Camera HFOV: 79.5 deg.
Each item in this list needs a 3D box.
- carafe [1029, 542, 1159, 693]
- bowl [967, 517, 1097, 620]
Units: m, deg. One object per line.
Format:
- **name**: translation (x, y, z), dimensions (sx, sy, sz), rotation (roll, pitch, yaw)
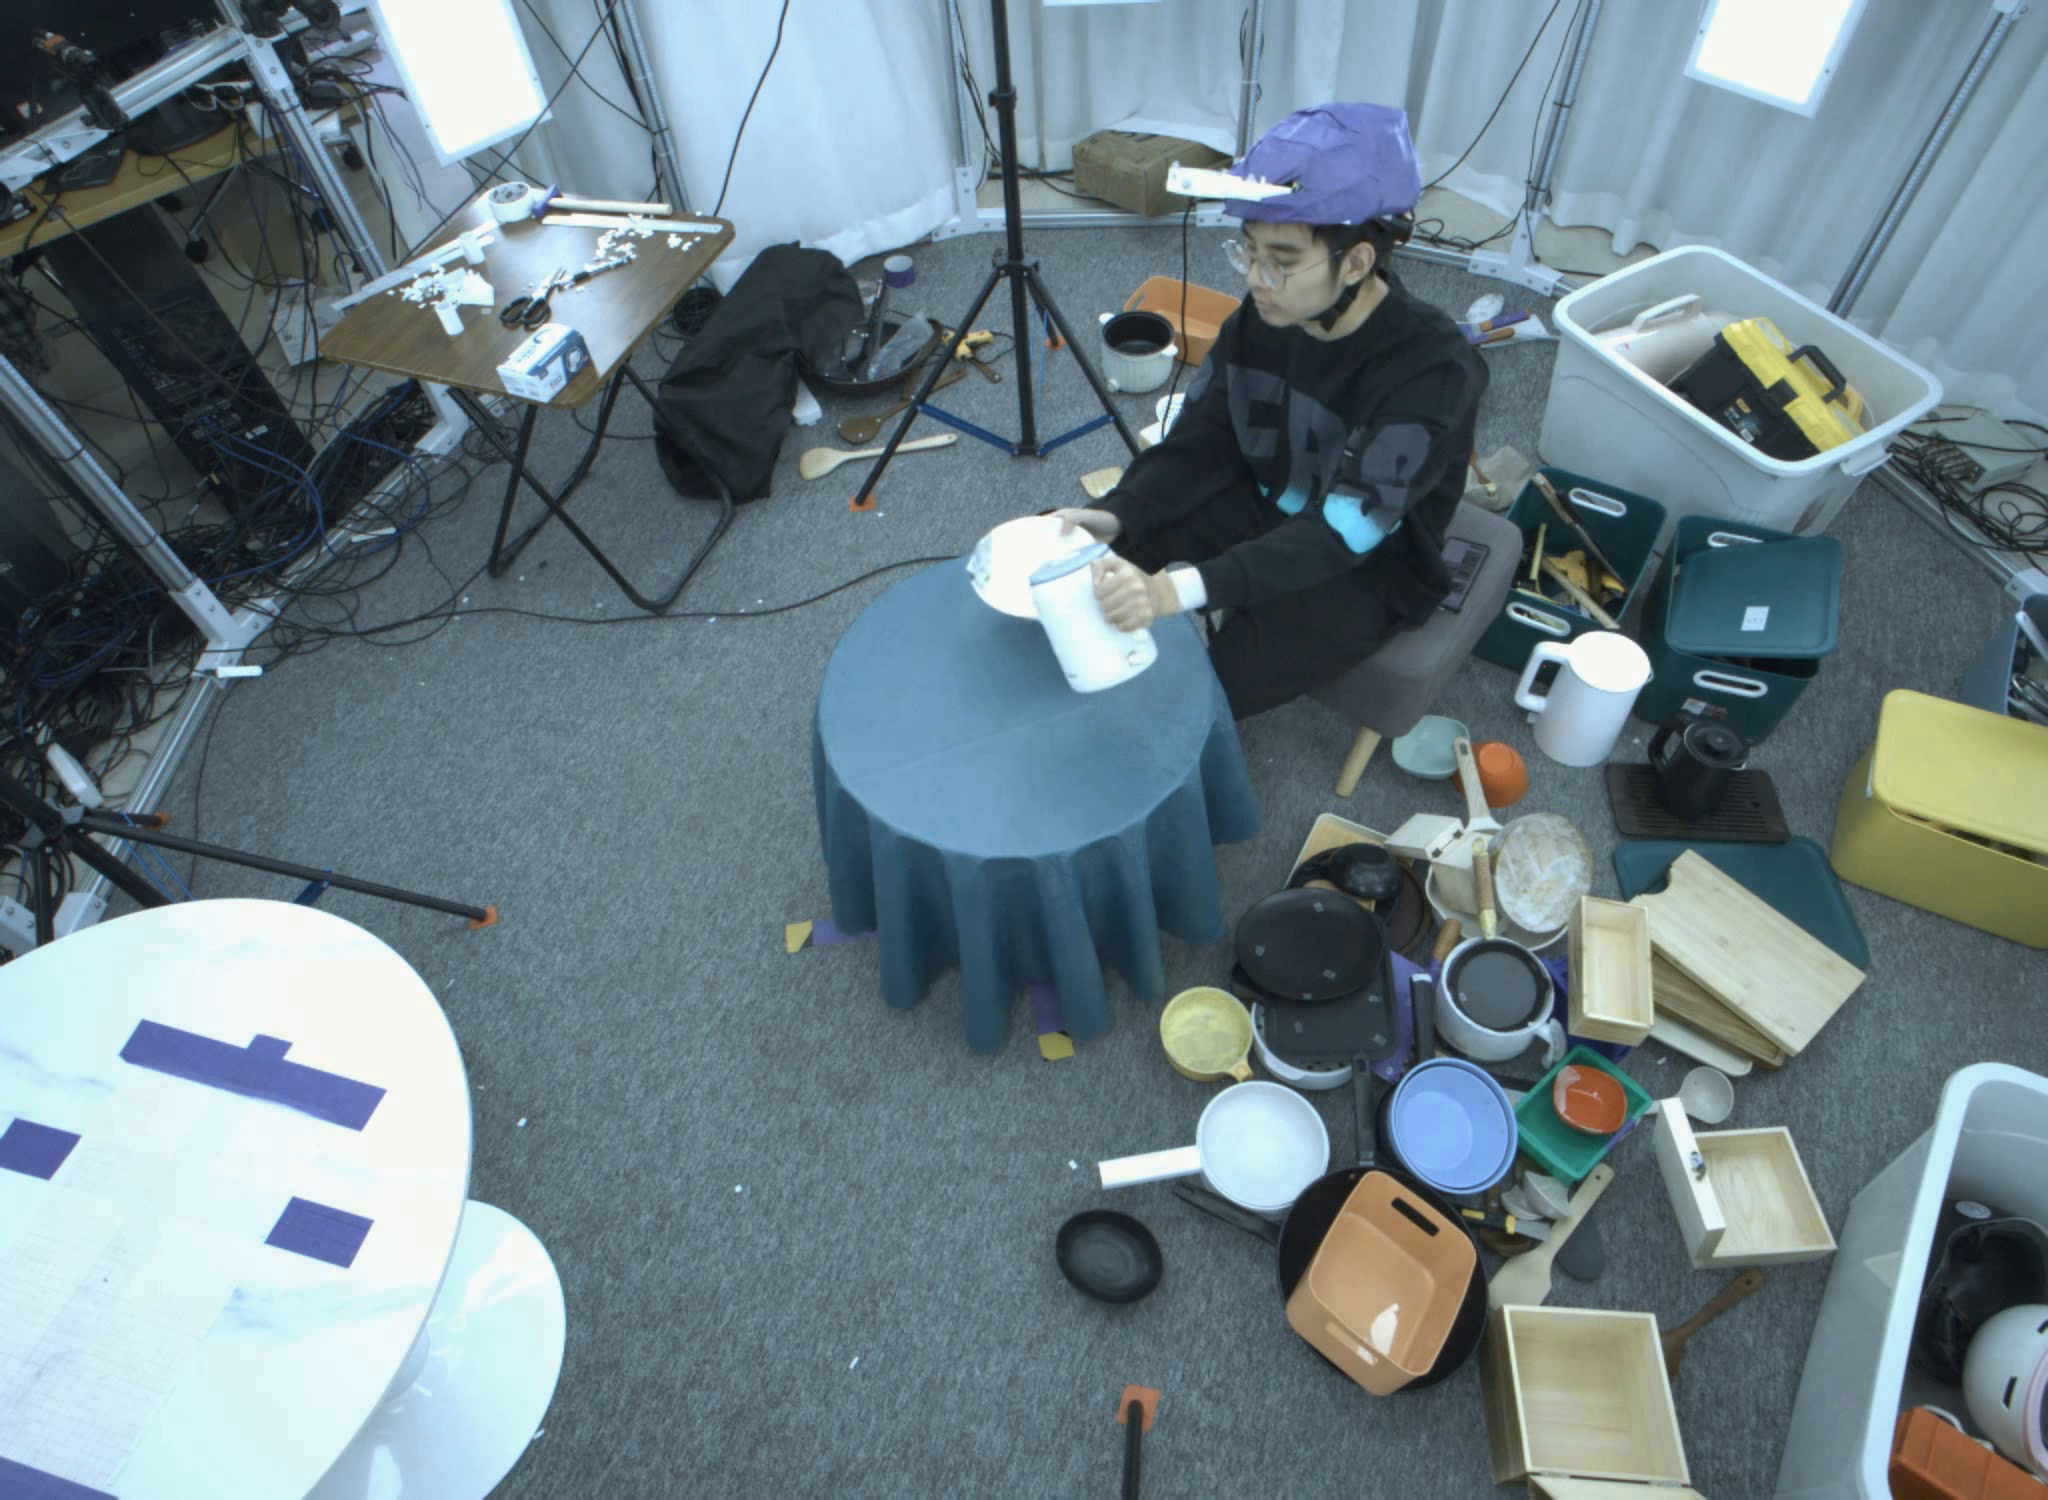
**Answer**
- **carafe**: translation (0.106, -0.177, 1.655), dimensions (0.133, 0.185, 0.187), rotation (-34, 23, -21)
- **bowl**: translation (0.017, -0.255, 1.862), dimensions (0.204, 0.078, 0.202), rotation (1, 55, -1)
